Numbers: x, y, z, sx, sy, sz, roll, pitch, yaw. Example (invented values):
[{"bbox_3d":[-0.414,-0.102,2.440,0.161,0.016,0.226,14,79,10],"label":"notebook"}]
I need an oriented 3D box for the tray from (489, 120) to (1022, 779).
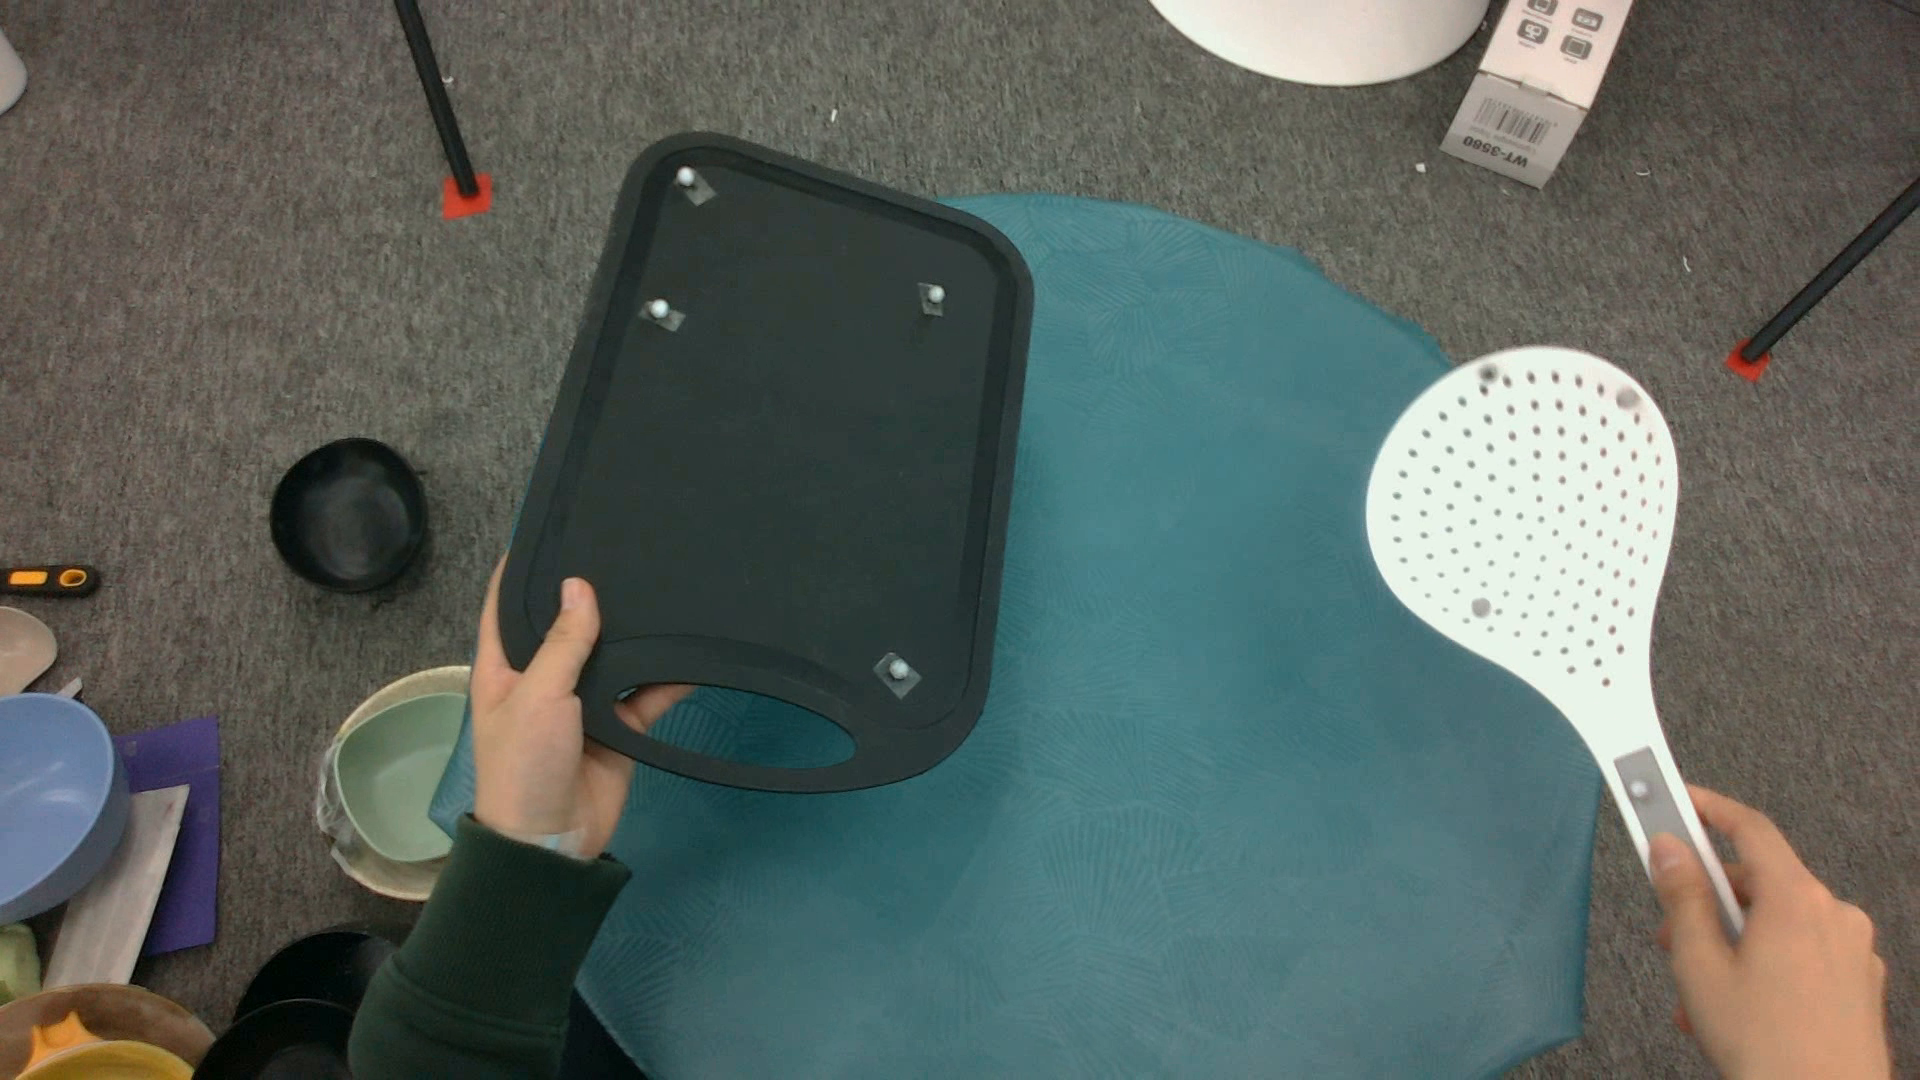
[{"bbox_3d":[-0.079,-0.051,0.625,0.211,0.010,0.327,14,61,-13],"label":"tray"}]

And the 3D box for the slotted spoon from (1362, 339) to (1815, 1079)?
[{"bbox_3d":[0.271,0.066,0.579,0.046,0.135,0.351,27,42,-41],"label":"slotted spoon"}]
